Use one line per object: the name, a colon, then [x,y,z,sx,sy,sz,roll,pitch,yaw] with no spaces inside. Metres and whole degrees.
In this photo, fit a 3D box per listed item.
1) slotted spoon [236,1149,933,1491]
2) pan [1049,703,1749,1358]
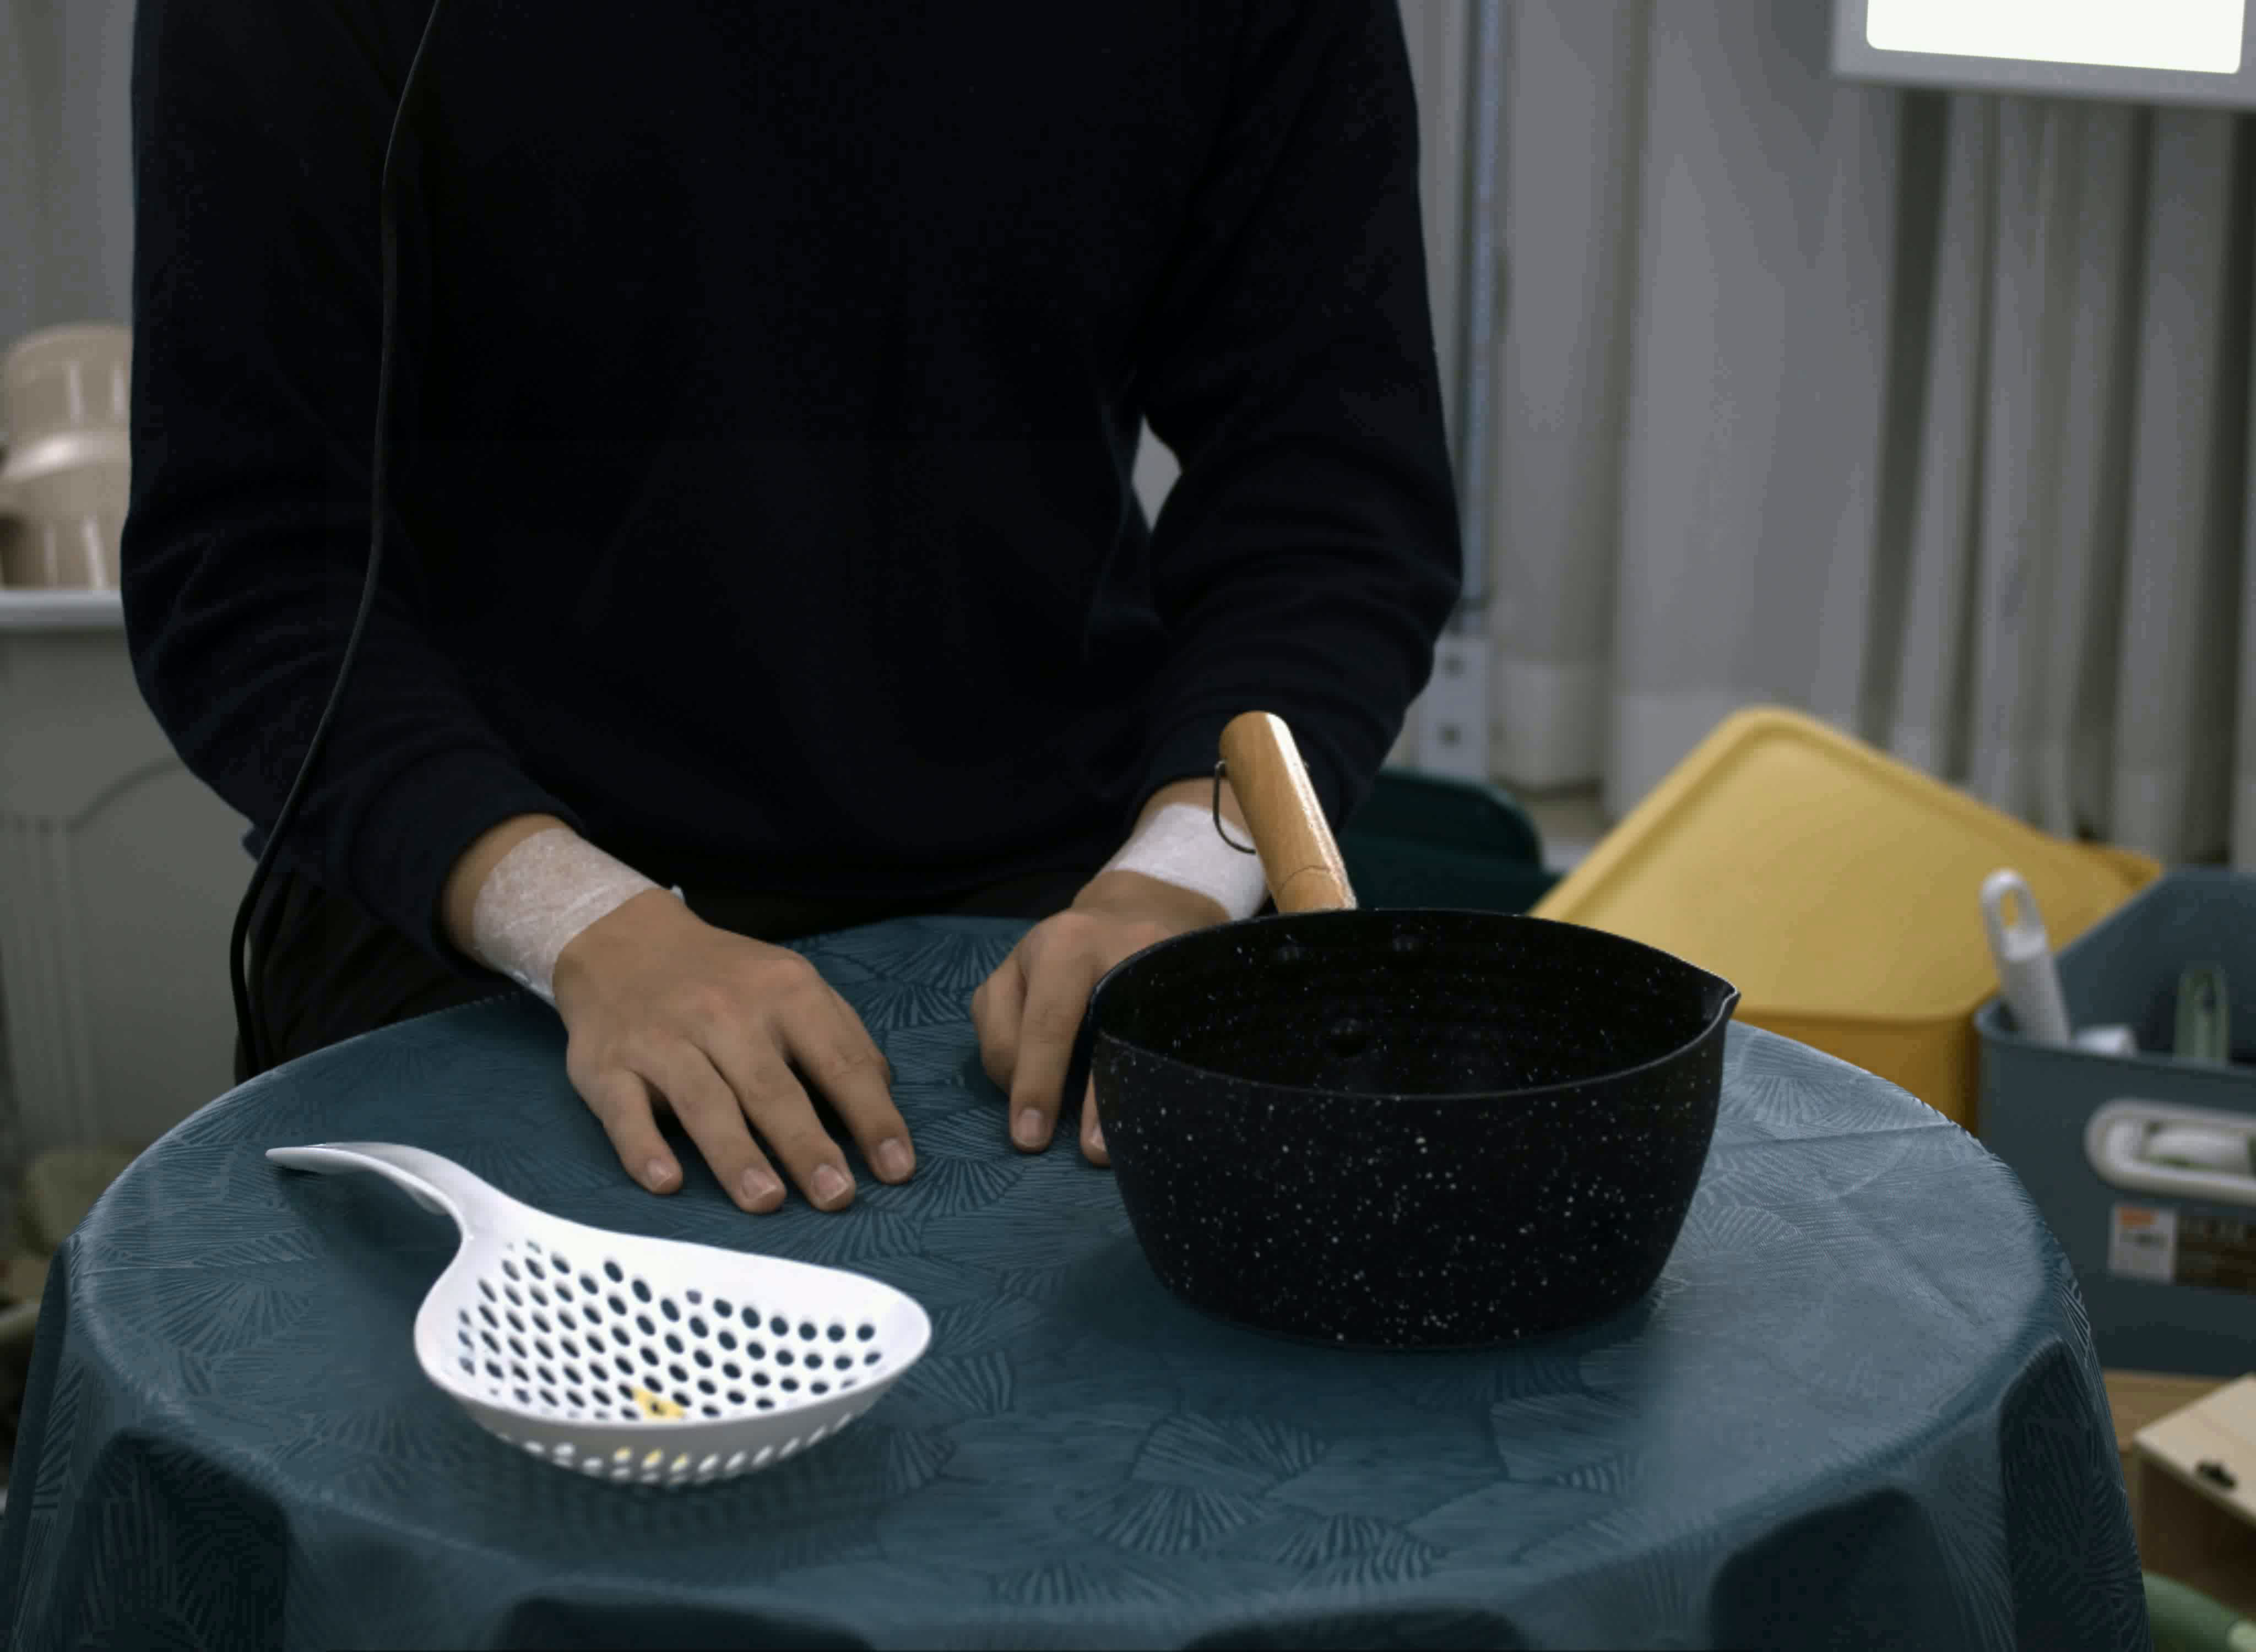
slotted spoon: [-0.177,0.125,1.492,0.137,0.051,0.343,-11,21,-29]
pan: [0.068,0.057,1.620,0.207,0.109,0.340,-4,17,-10]
